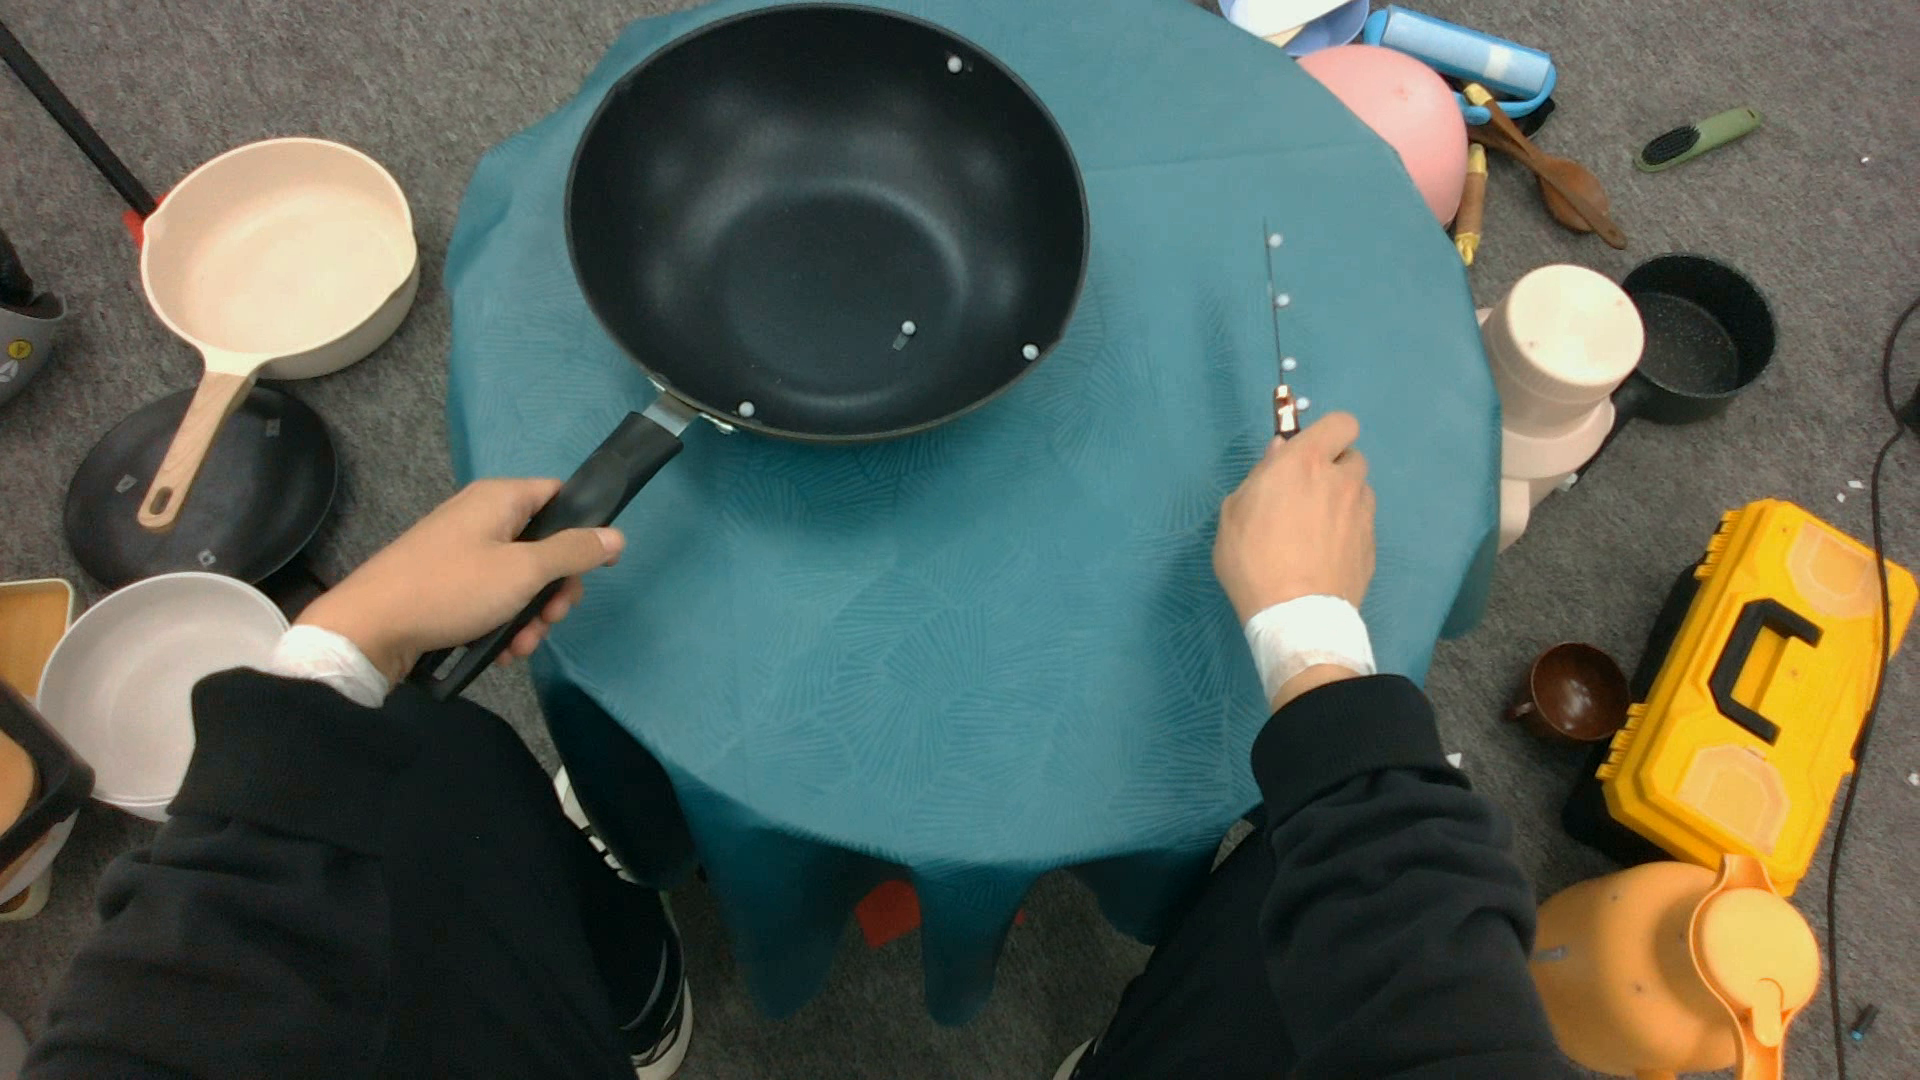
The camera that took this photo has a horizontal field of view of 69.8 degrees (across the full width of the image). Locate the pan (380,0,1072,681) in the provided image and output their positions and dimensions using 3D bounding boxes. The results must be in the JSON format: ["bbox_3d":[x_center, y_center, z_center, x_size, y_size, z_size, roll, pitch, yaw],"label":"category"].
[{"bbox_3d":[-0.130,-0.102,0.743,0.288,0.086,0.465,31,69,8],"label":"pan"}]

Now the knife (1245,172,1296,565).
[{"bbox_3d":[0.168,-0.097,0.757,0.017,0.026,0.226,-6,76,17],"label":"knife"}]
